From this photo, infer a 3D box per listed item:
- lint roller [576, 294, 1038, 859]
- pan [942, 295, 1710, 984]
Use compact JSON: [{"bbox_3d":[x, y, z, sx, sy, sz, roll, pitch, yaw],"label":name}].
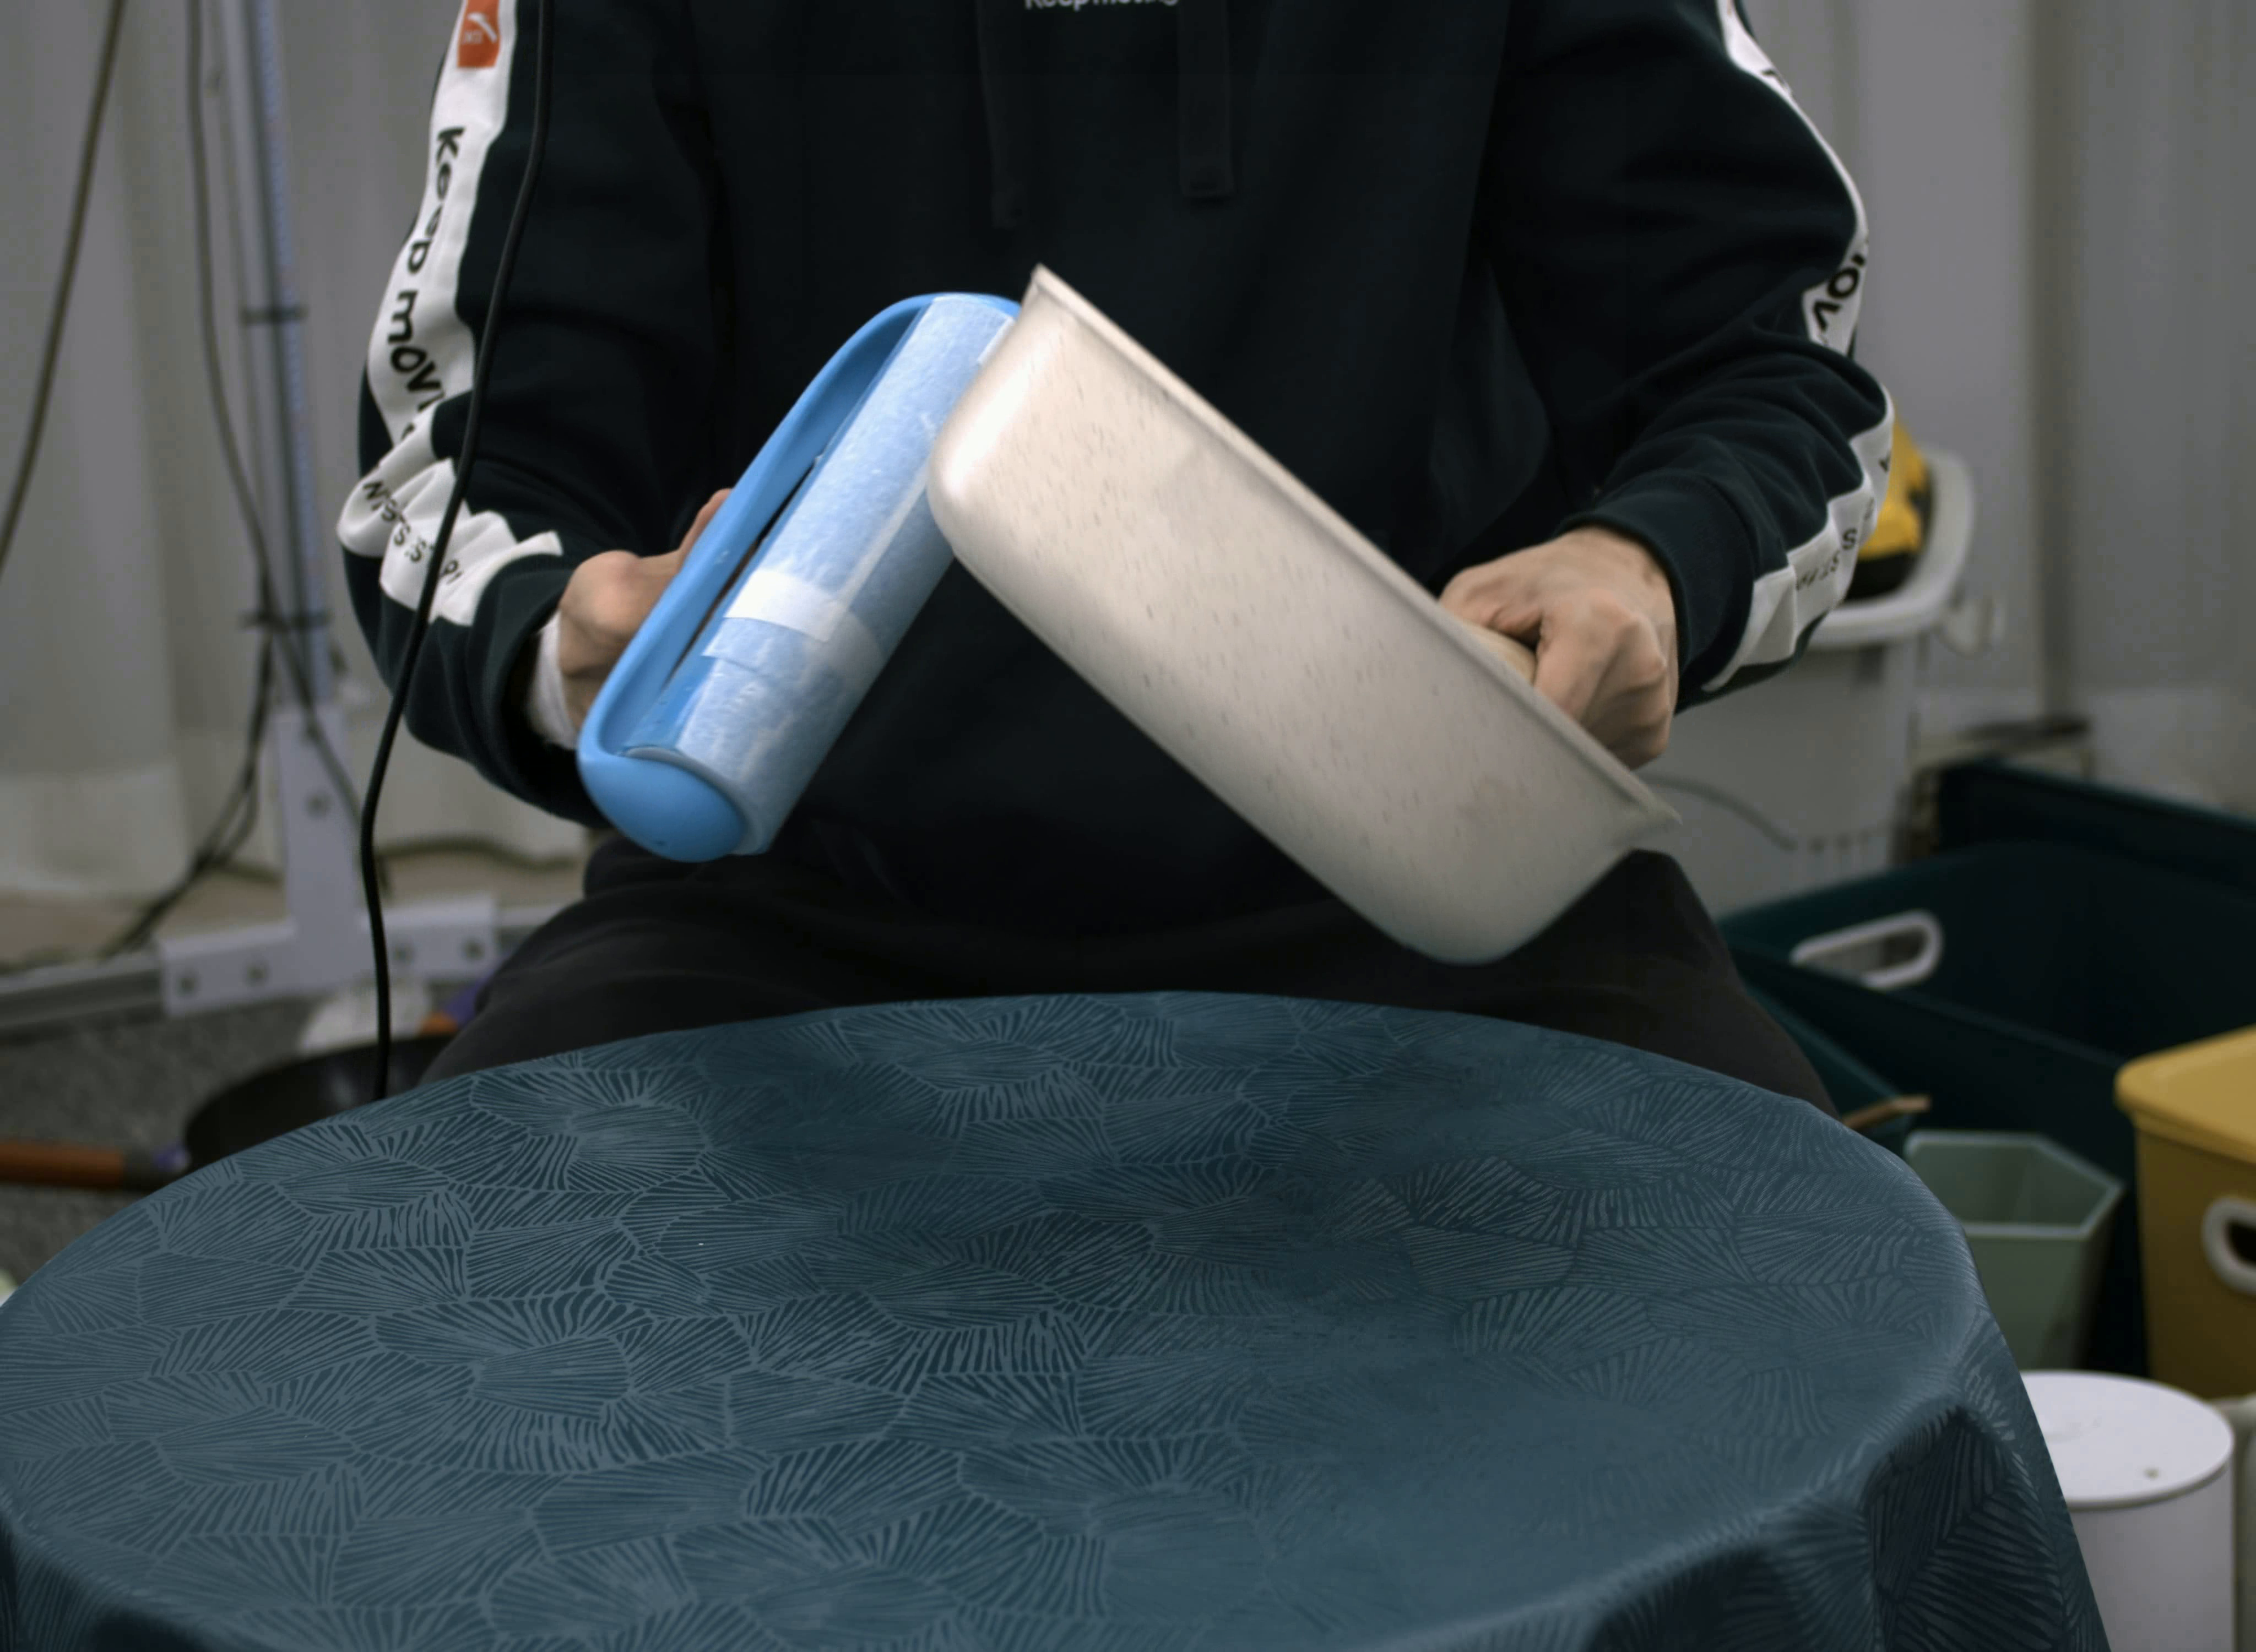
[{"bbox_3d":[-0.122,-0.066,1.775,0.179,0.067,0.231,-28,27,55],"label":"lint roller"},{"bbox_3d":[0.077,-0.039,1.715,0.265,0.102,0.432,40,3,18],"label":"pan"}]
